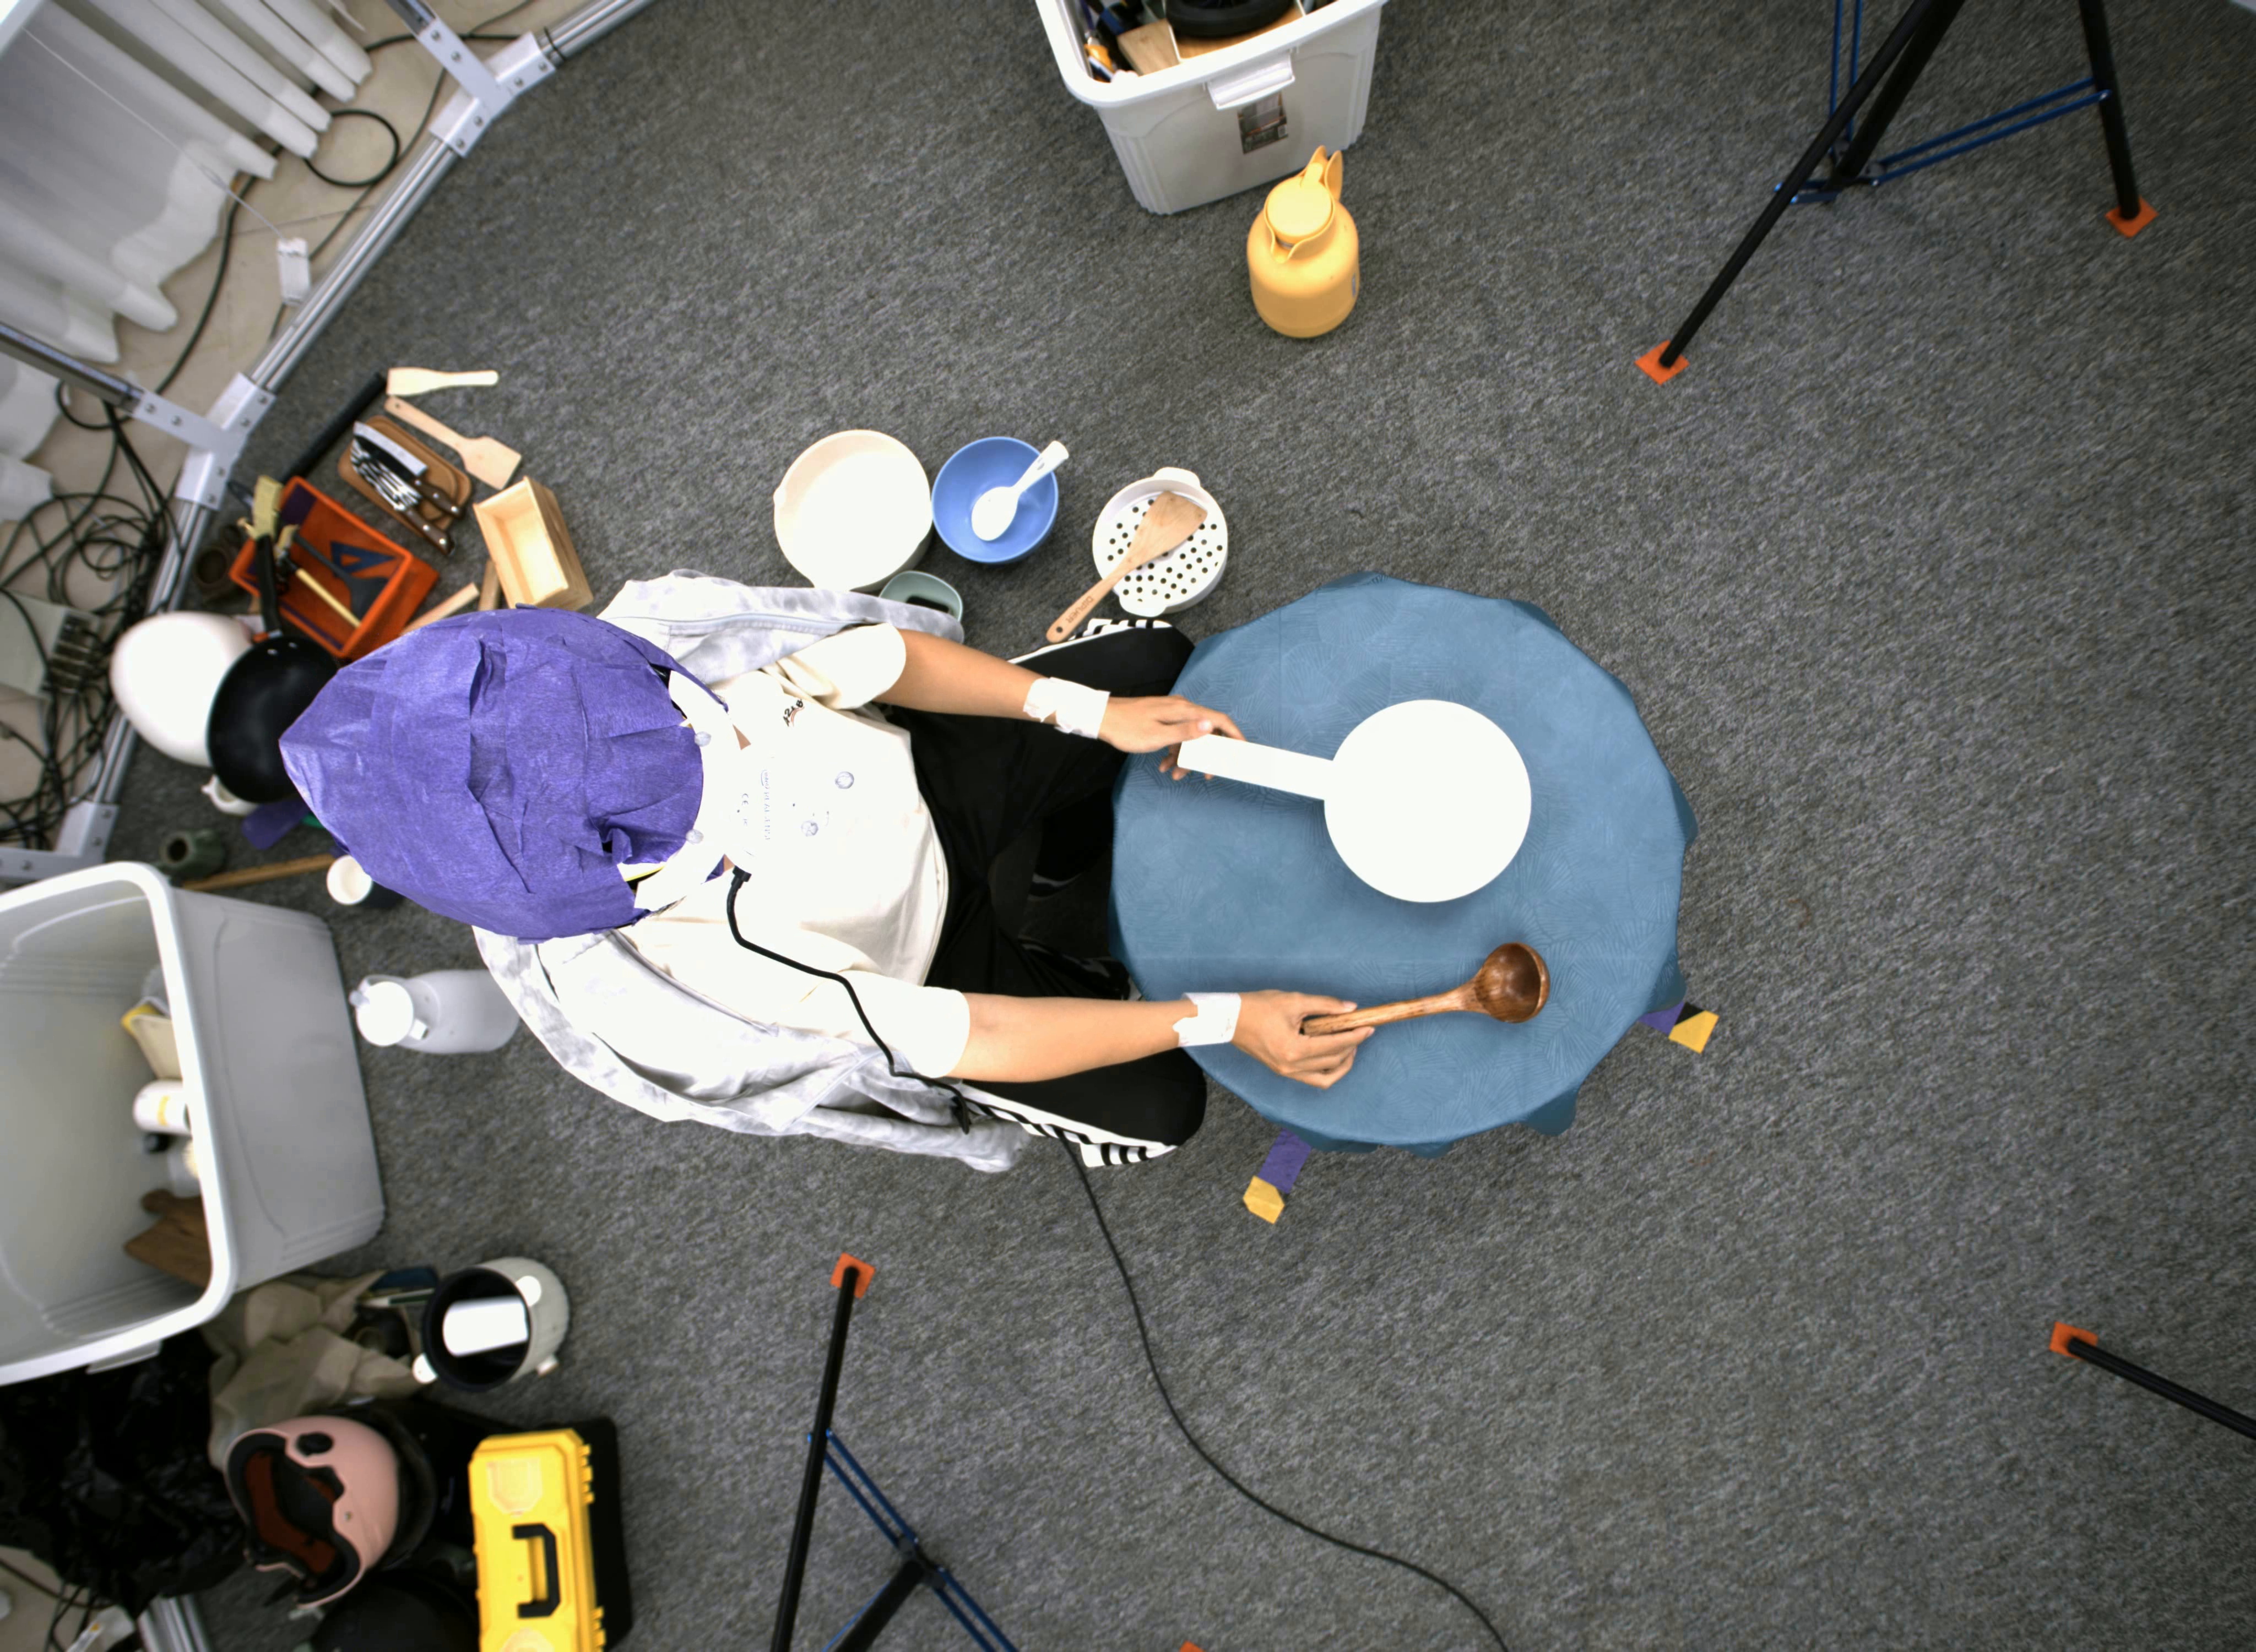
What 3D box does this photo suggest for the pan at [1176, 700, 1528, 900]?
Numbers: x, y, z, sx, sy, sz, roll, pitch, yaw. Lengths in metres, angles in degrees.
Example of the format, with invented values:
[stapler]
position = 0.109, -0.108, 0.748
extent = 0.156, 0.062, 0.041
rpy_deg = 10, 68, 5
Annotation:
[pan]
position = 0.228, -0.041, 1.422
extent = 0.355, 0.102, 0.201
rpy_deg = 14, 90, 12

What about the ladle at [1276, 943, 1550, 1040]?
[ladle]
position = 0.285, 0.175, 1.388
extent = 0.274, 0.078, 0.080
rpy_deg = -9, 64, 2
